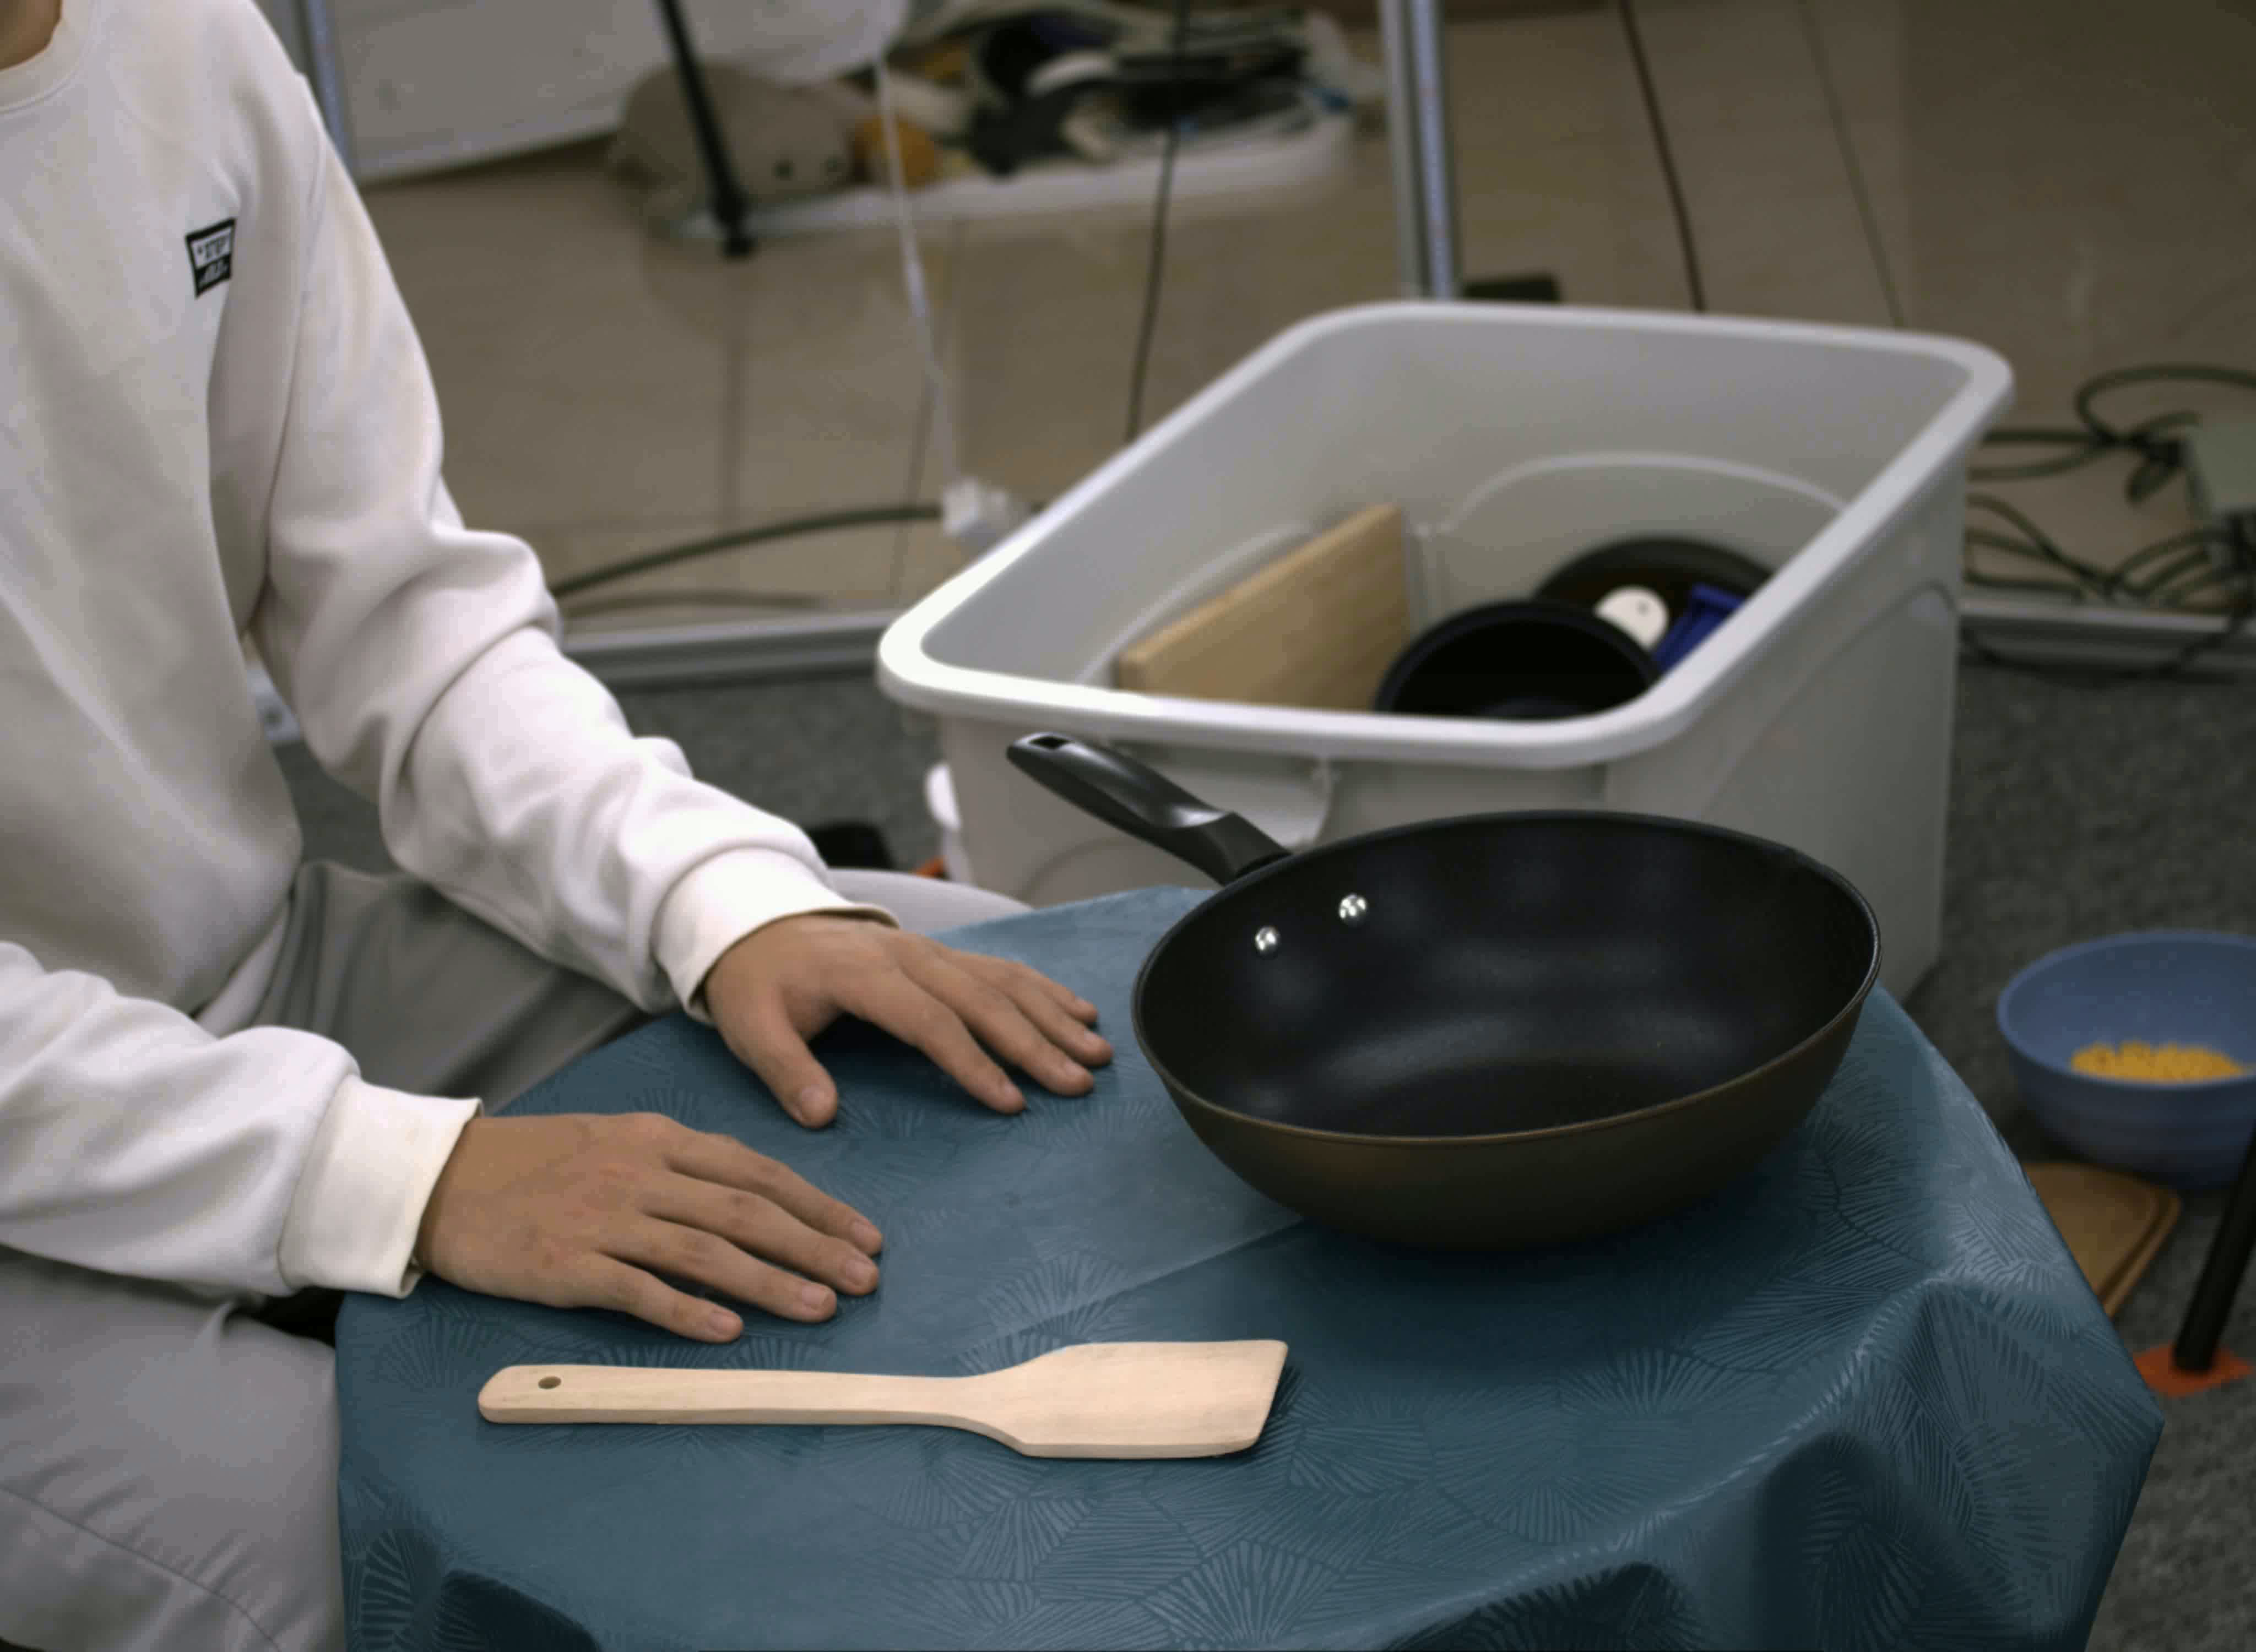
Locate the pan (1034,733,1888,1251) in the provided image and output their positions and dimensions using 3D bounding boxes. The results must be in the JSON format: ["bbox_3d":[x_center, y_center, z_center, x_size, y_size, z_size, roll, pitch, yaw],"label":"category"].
[{"bbox_3d":[0.093,0.061,2.193,0.286,0.088,0.459,-20,27,-29],"label":"pan"}]

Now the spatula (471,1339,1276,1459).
[{"bbox_3d":[-0.094,0.203,2.021,0.292,0.011,0.071,-1,27,12],"label":"spatula"}]
